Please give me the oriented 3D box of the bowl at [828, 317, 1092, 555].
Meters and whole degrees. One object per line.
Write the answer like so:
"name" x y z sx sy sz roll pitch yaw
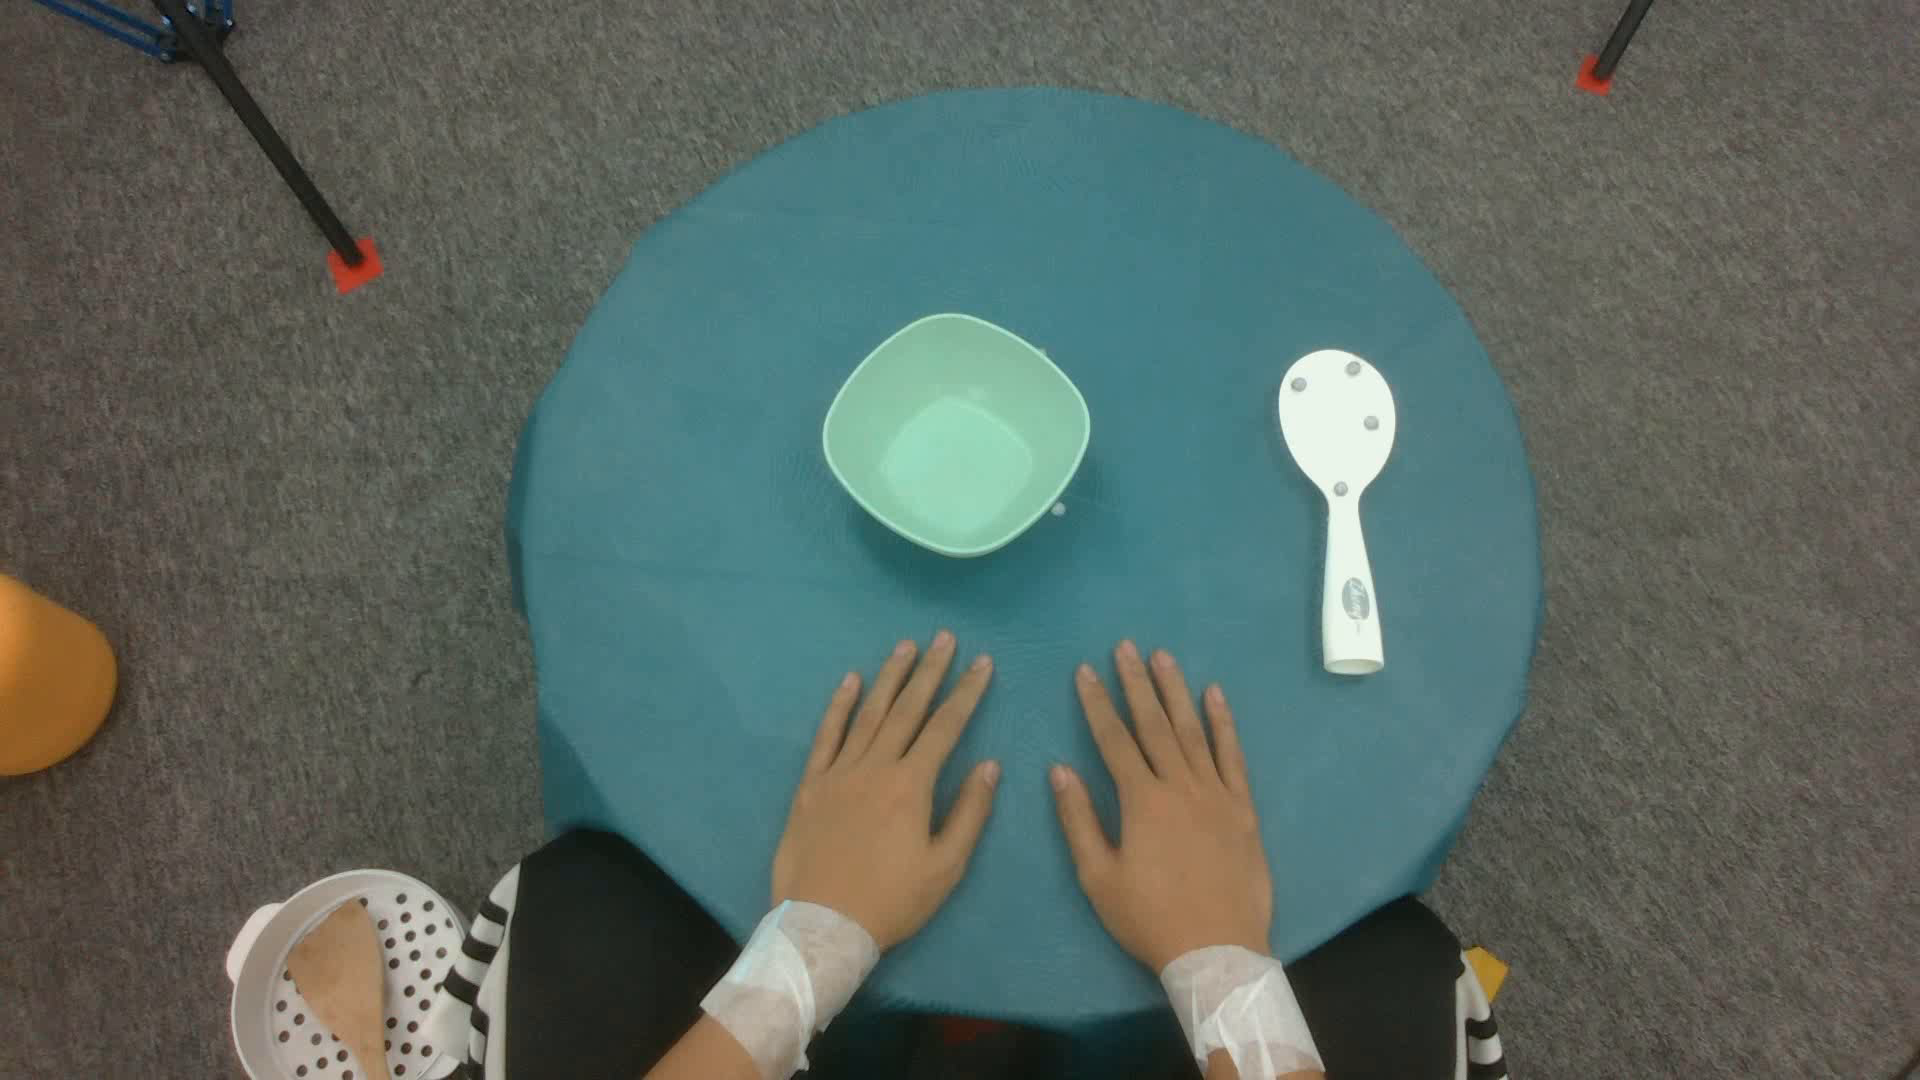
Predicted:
"bowl" 0.000 -0.052 0.808 0.151 0.058 0.152 1 65 -2

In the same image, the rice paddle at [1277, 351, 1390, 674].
"rice paddle" 0.224 -0.023 0.811 0.069 0.029 0.206 2 67 0
